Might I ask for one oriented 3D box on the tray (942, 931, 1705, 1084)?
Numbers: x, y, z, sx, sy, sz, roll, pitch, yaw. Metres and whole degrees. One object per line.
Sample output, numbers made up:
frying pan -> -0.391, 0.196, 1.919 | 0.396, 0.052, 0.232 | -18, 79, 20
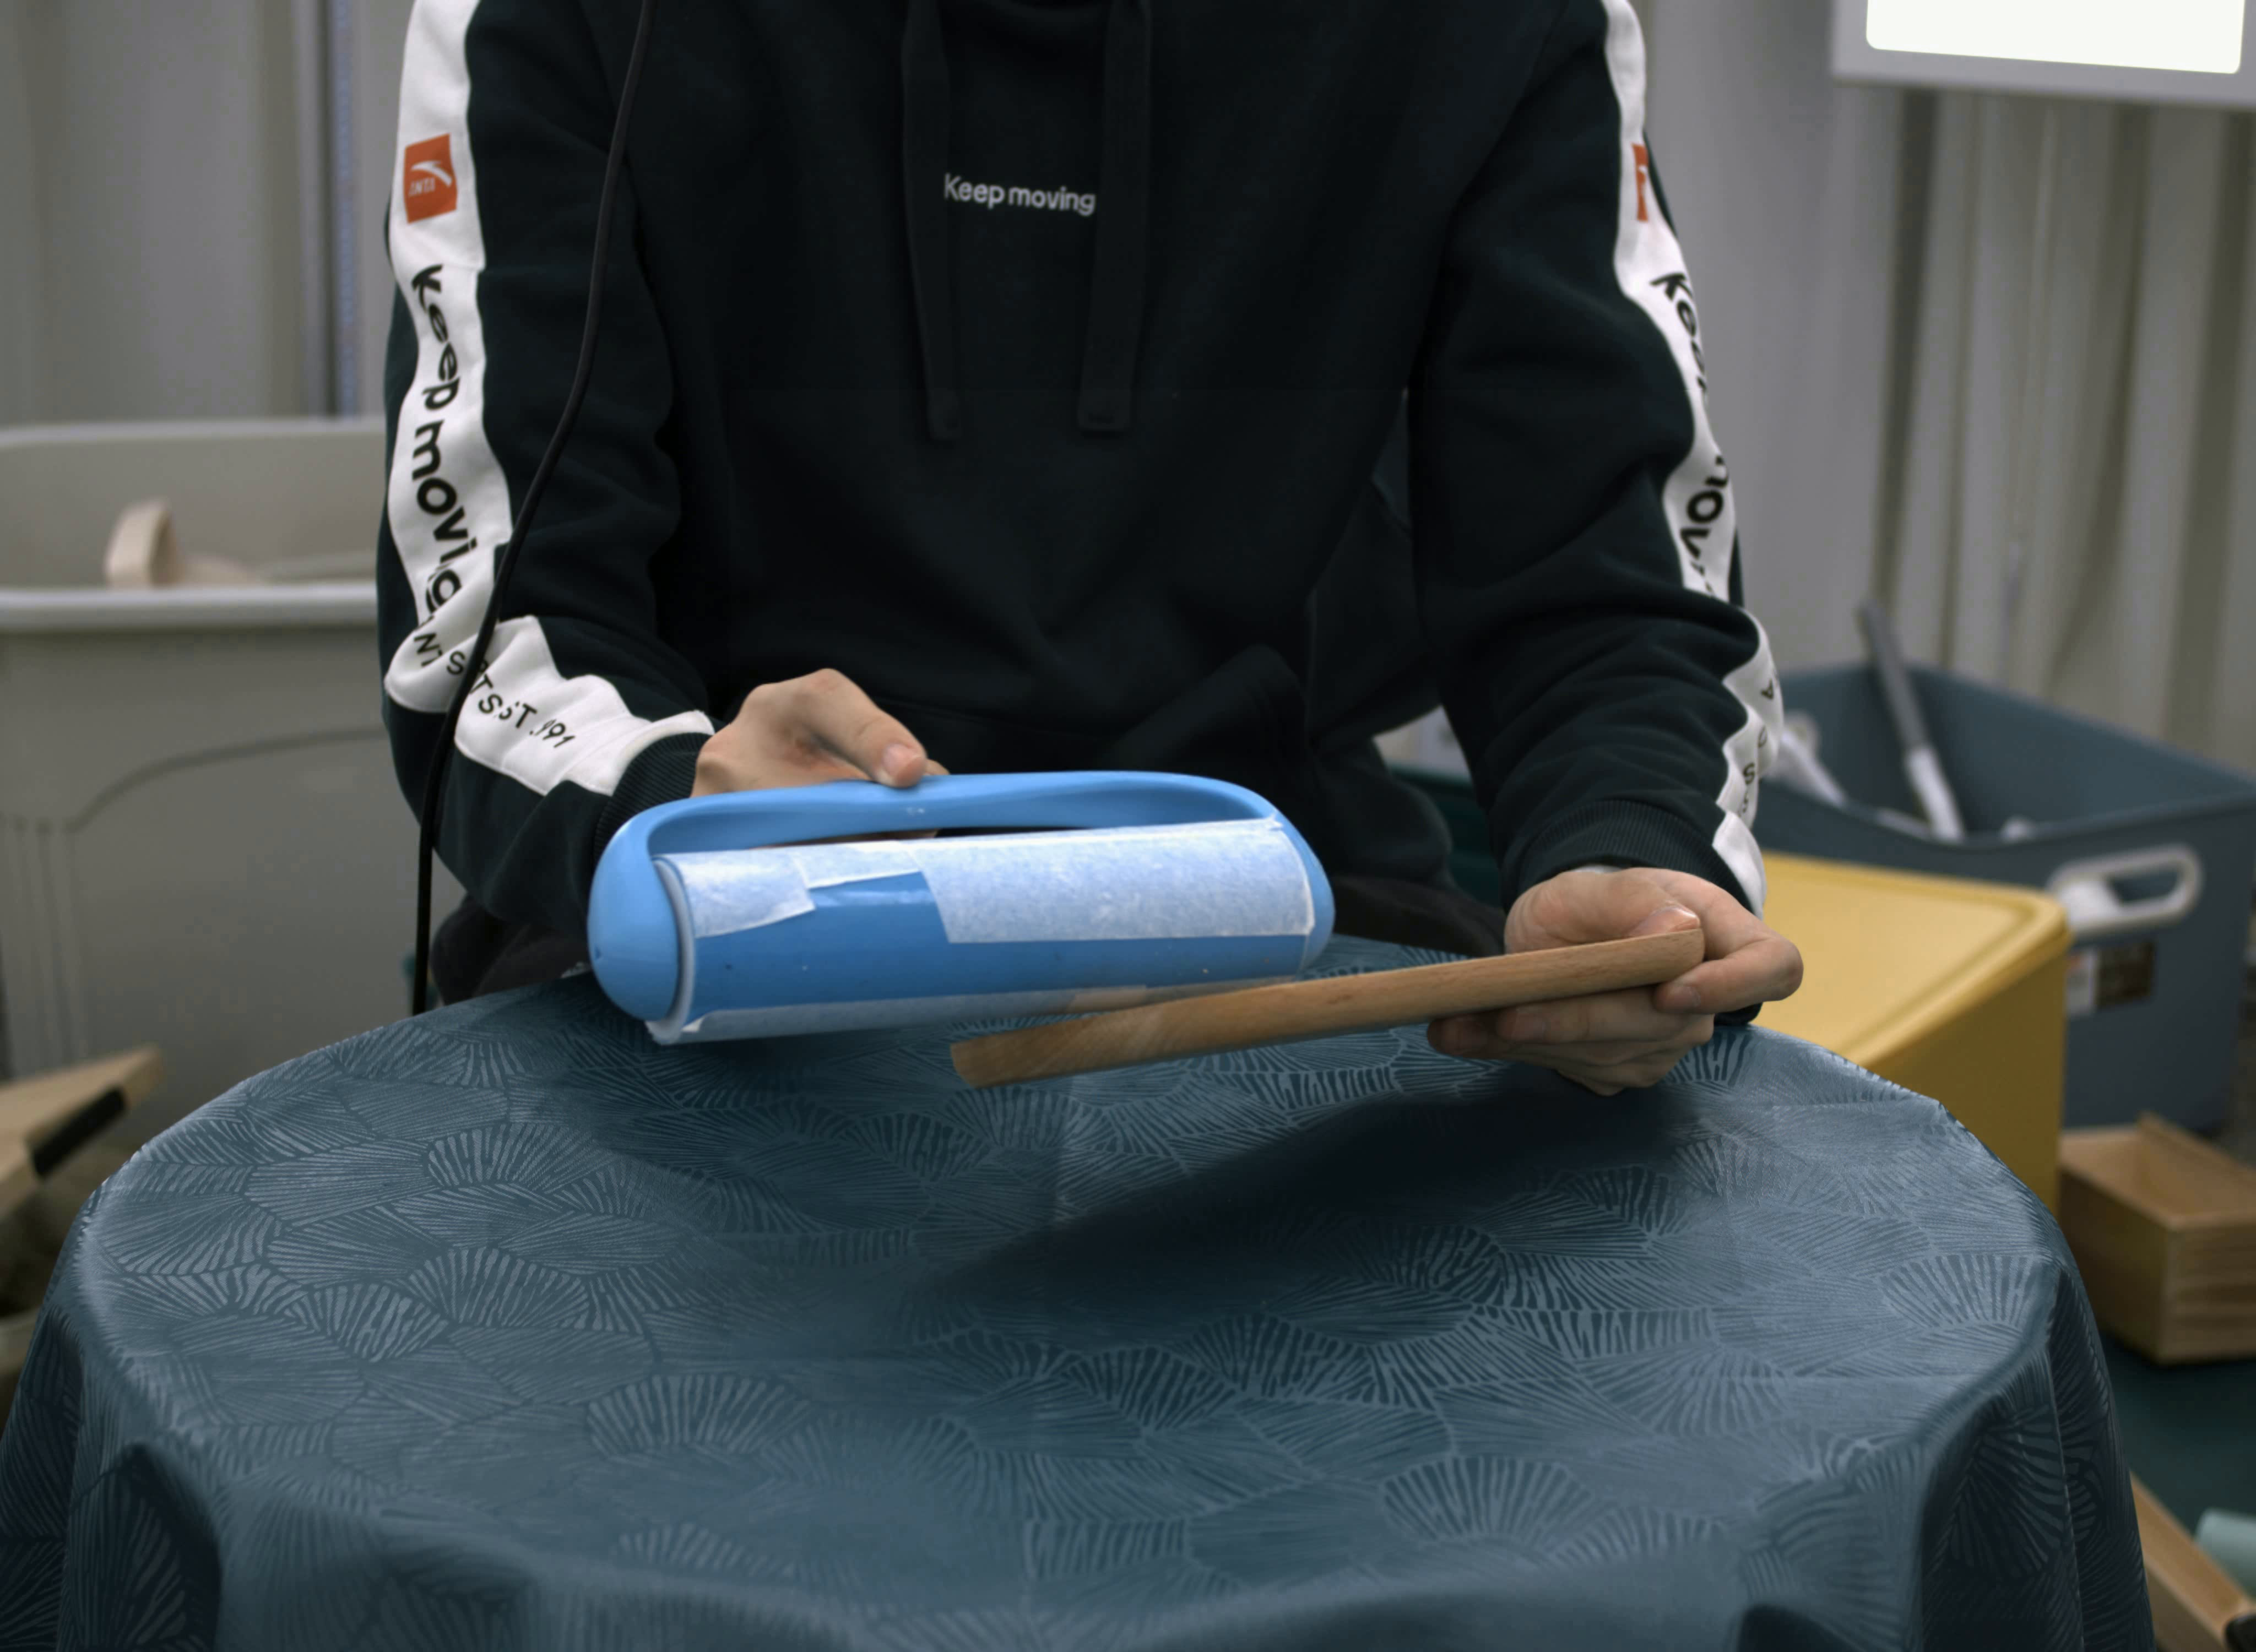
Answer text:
tray -> 0.063, 0.054, 1.591 | 0.129, 0.023, 0.252 | -15, -6, 41

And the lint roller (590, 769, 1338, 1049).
lint roller -> -0.071, 0.017, 1.556 | 0.230, 0.068, 0.178 | -6, 14, -28
